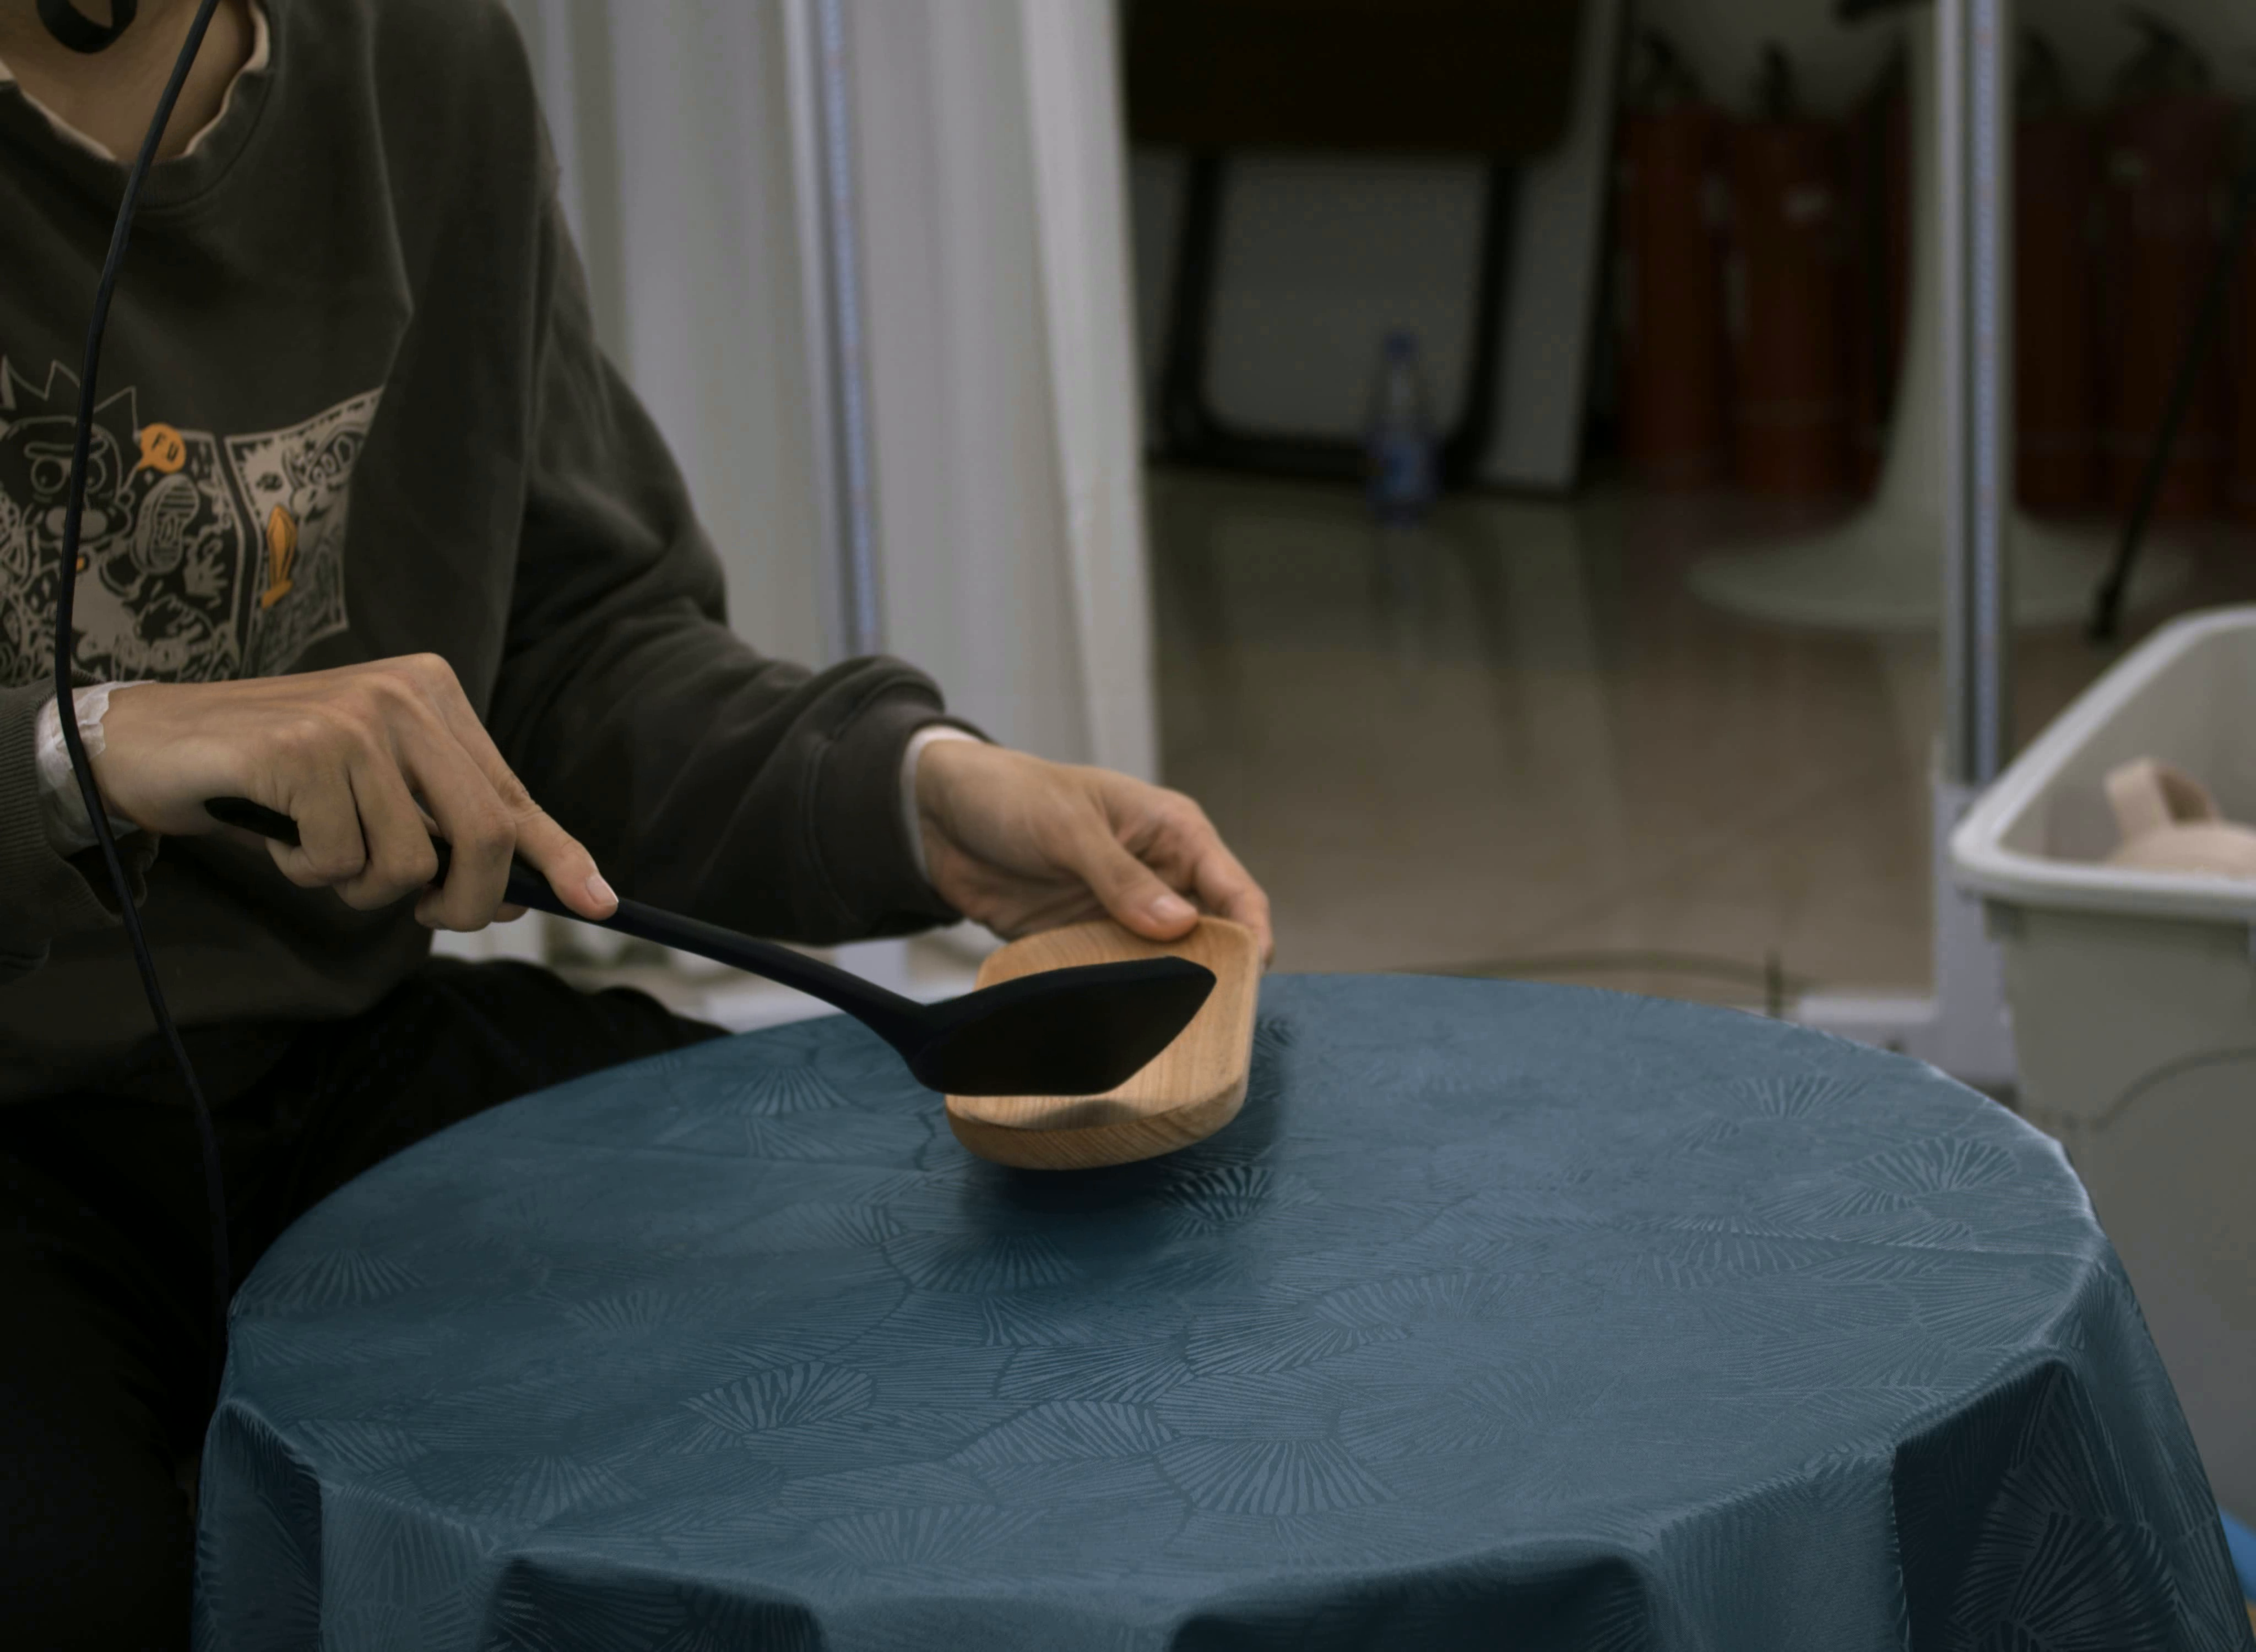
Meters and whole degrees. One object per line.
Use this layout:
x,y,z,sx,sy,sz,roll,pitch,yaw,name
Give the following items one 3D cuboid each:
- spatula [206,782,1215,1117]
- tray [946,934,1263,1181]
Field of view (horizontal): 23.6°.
-0.133,0.032,1.702,0.321,0.040,0.100,20,-37,-12,spatula
-0.005,0.077,1.838,0.101,0.020,0.231,-7,16,6,tray
